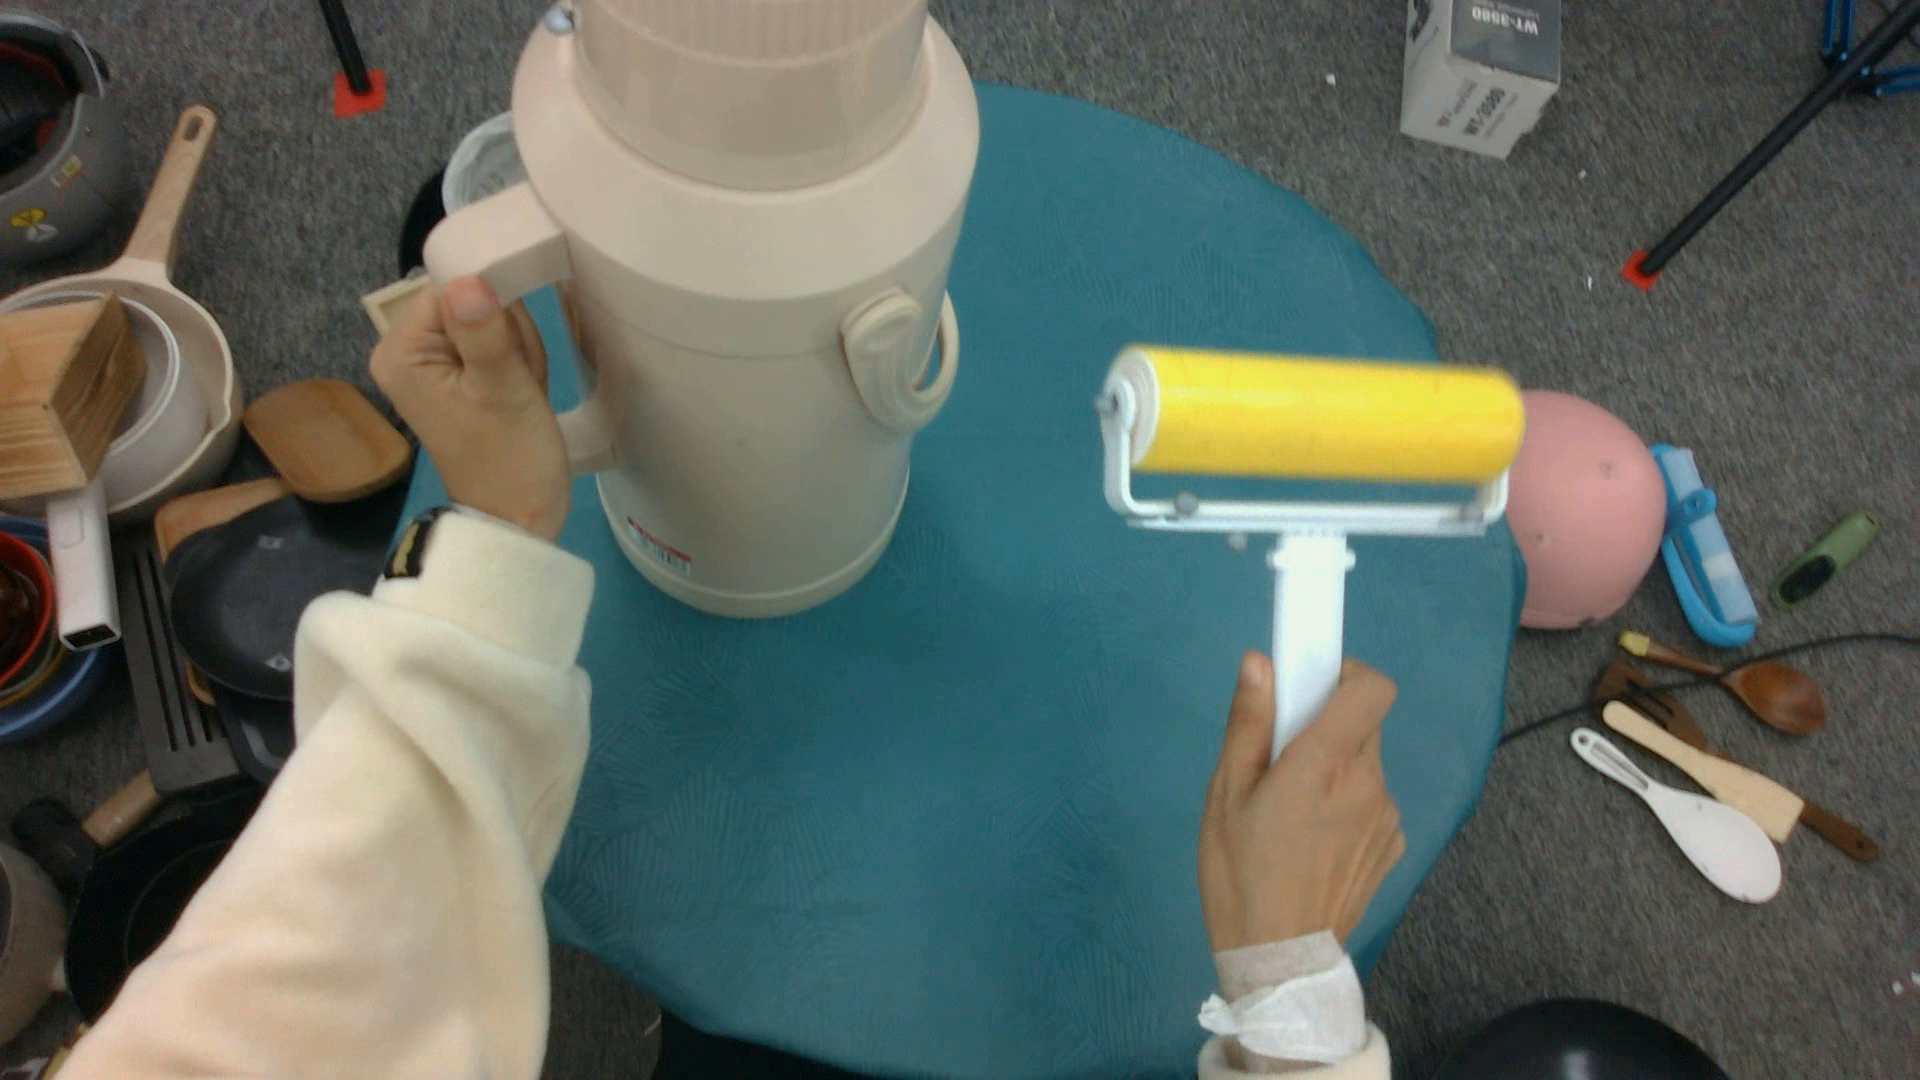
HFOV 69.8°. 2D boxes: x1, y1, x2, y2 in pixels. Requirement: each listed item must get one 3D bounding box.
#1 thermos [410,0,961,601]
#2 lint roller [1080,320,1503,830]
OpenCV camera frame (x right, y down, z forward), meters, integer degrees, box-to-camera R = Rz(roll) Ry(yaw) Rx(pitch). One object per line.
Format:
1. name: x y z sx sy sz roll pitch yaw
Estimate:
1. thermos: -0.102 -0.112 0.552 0.207 0.404 0.175 -32 75 -20
2. lint roller: 0.135 0.013 0.523 0.174 0.051 0.192 -1 80 -21
